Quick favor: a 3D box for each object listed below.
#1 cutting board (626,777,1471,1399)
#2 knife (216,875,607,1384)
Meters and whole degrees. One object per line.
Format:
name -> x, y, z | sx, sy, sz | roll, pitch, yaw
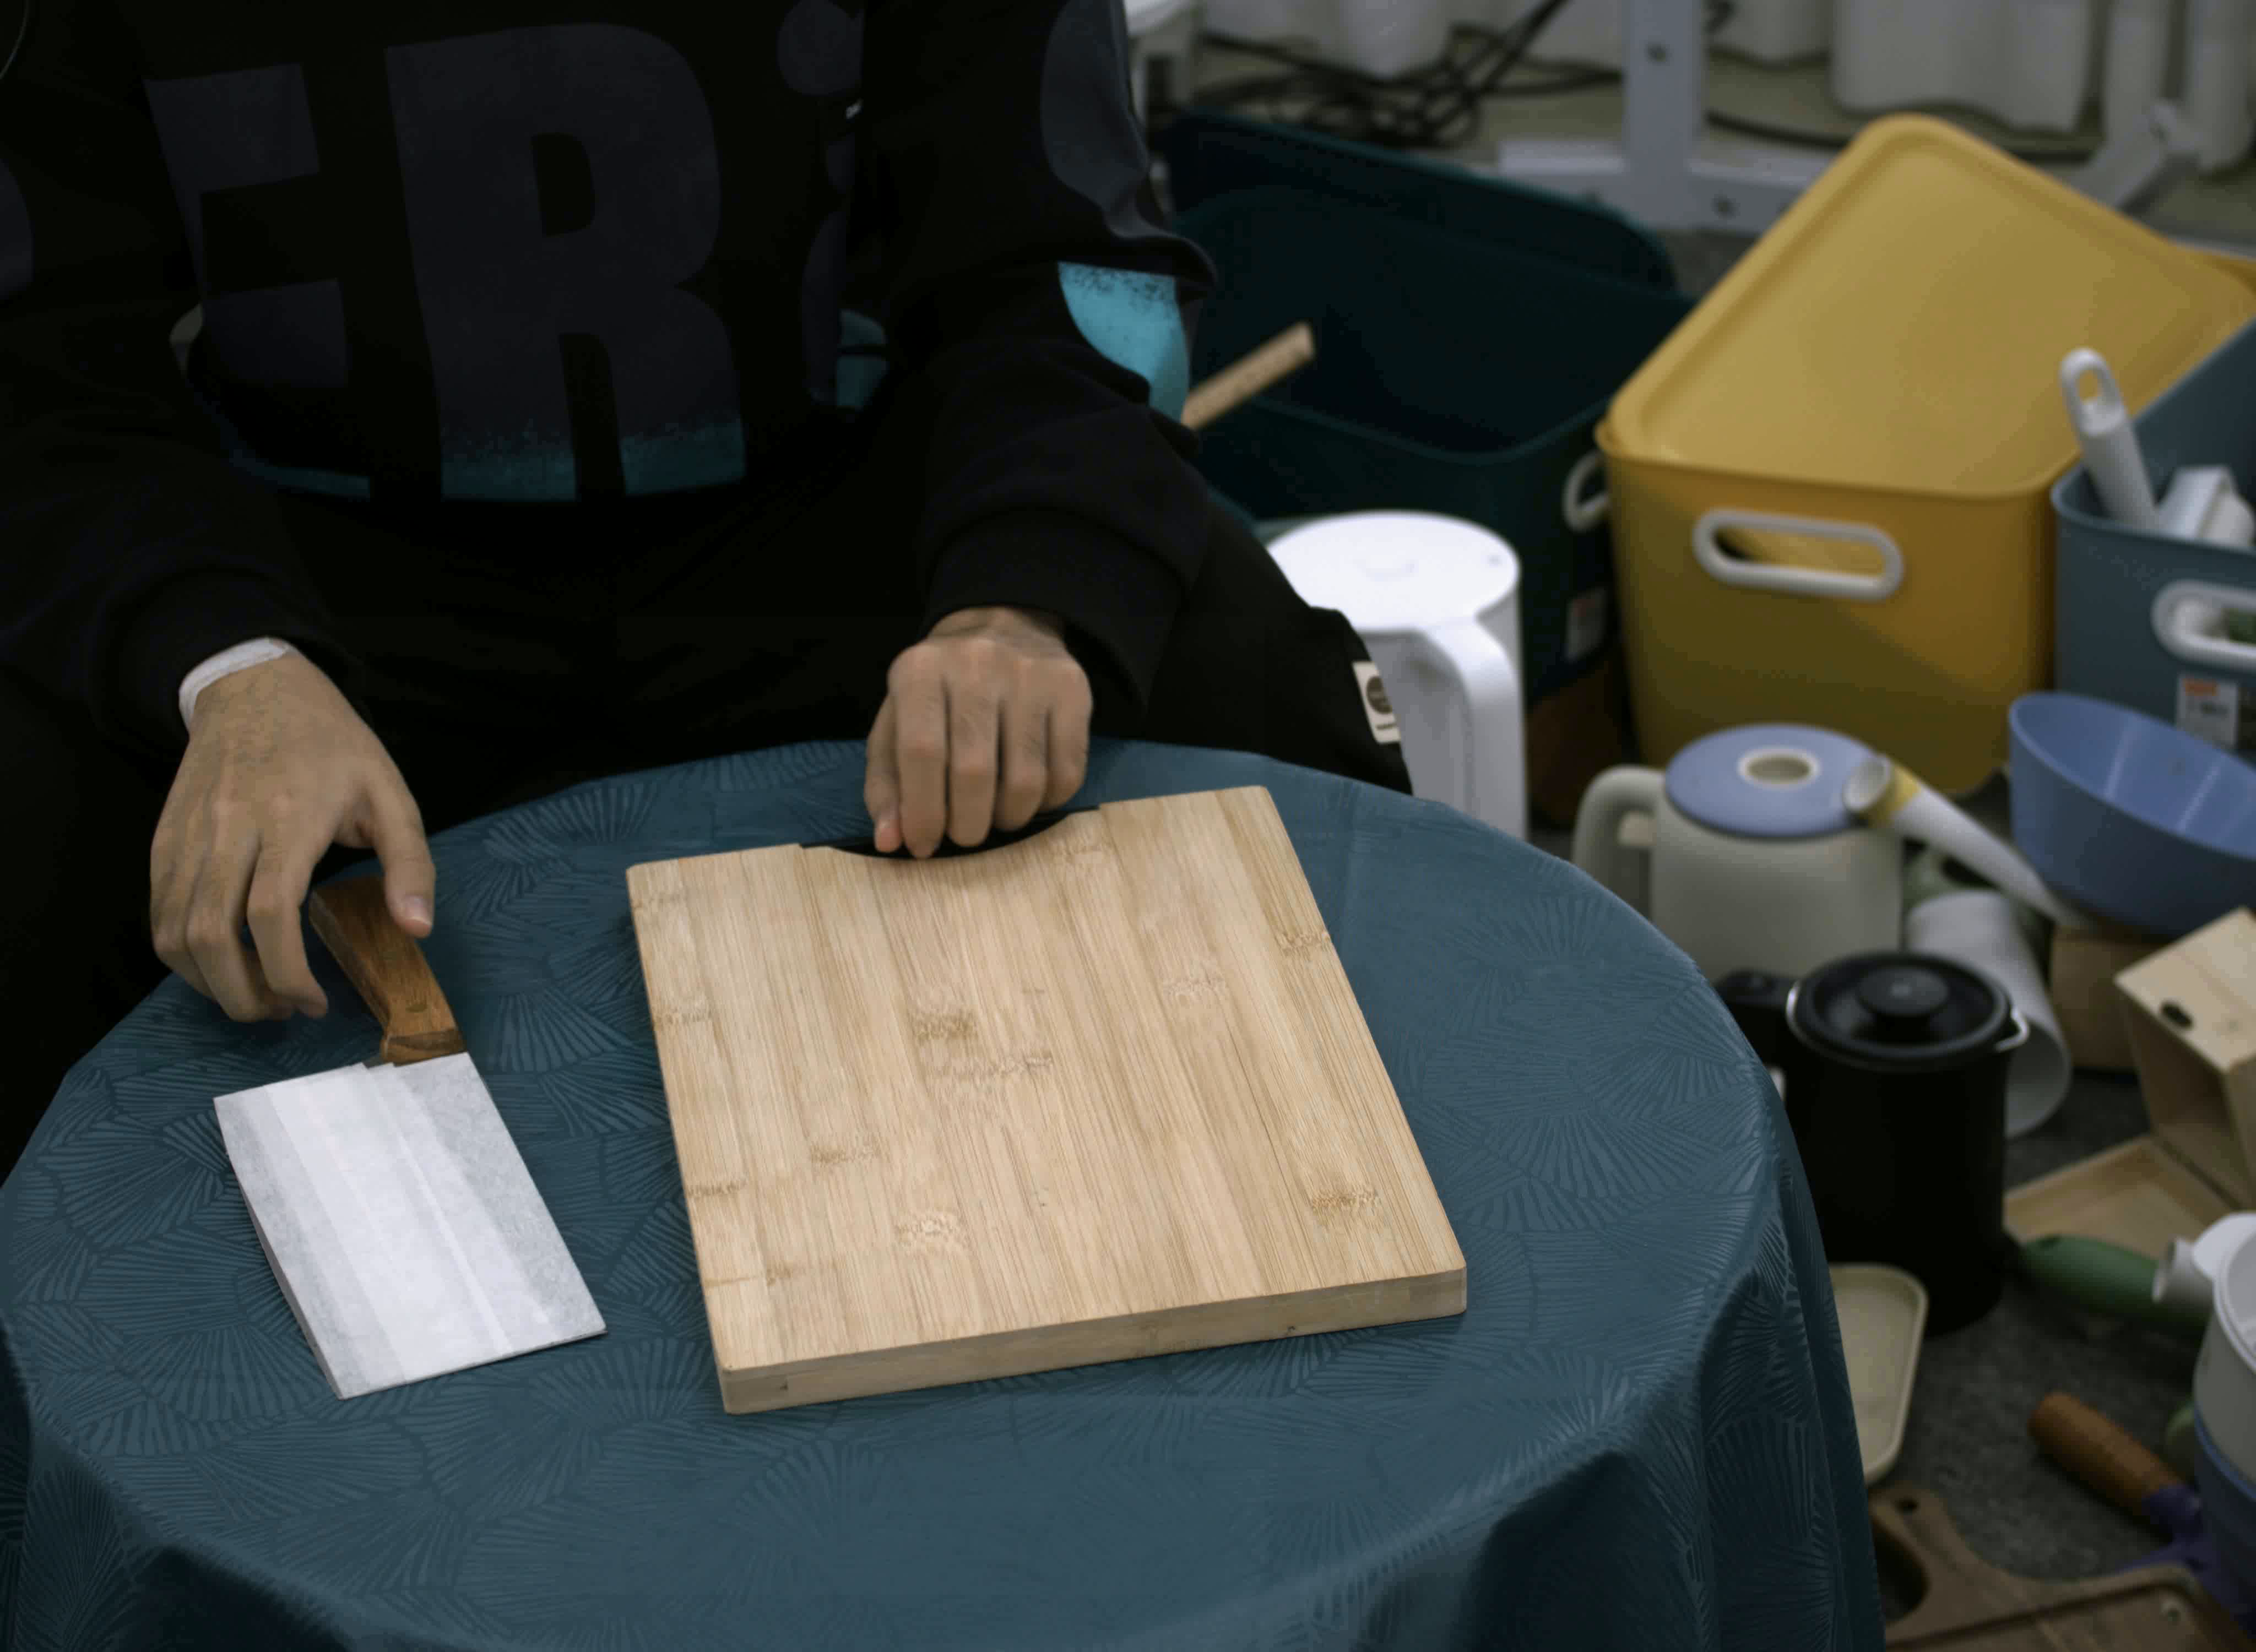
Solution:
cutting board -> -0.037, 0.083, 1.922 | 0.250, 0.023, 0.353 | -7, 28, -8
knife -> -0.259, 0.102, 1.909 | 0.093, 0.021, 0.308 | -13, 31, -16
